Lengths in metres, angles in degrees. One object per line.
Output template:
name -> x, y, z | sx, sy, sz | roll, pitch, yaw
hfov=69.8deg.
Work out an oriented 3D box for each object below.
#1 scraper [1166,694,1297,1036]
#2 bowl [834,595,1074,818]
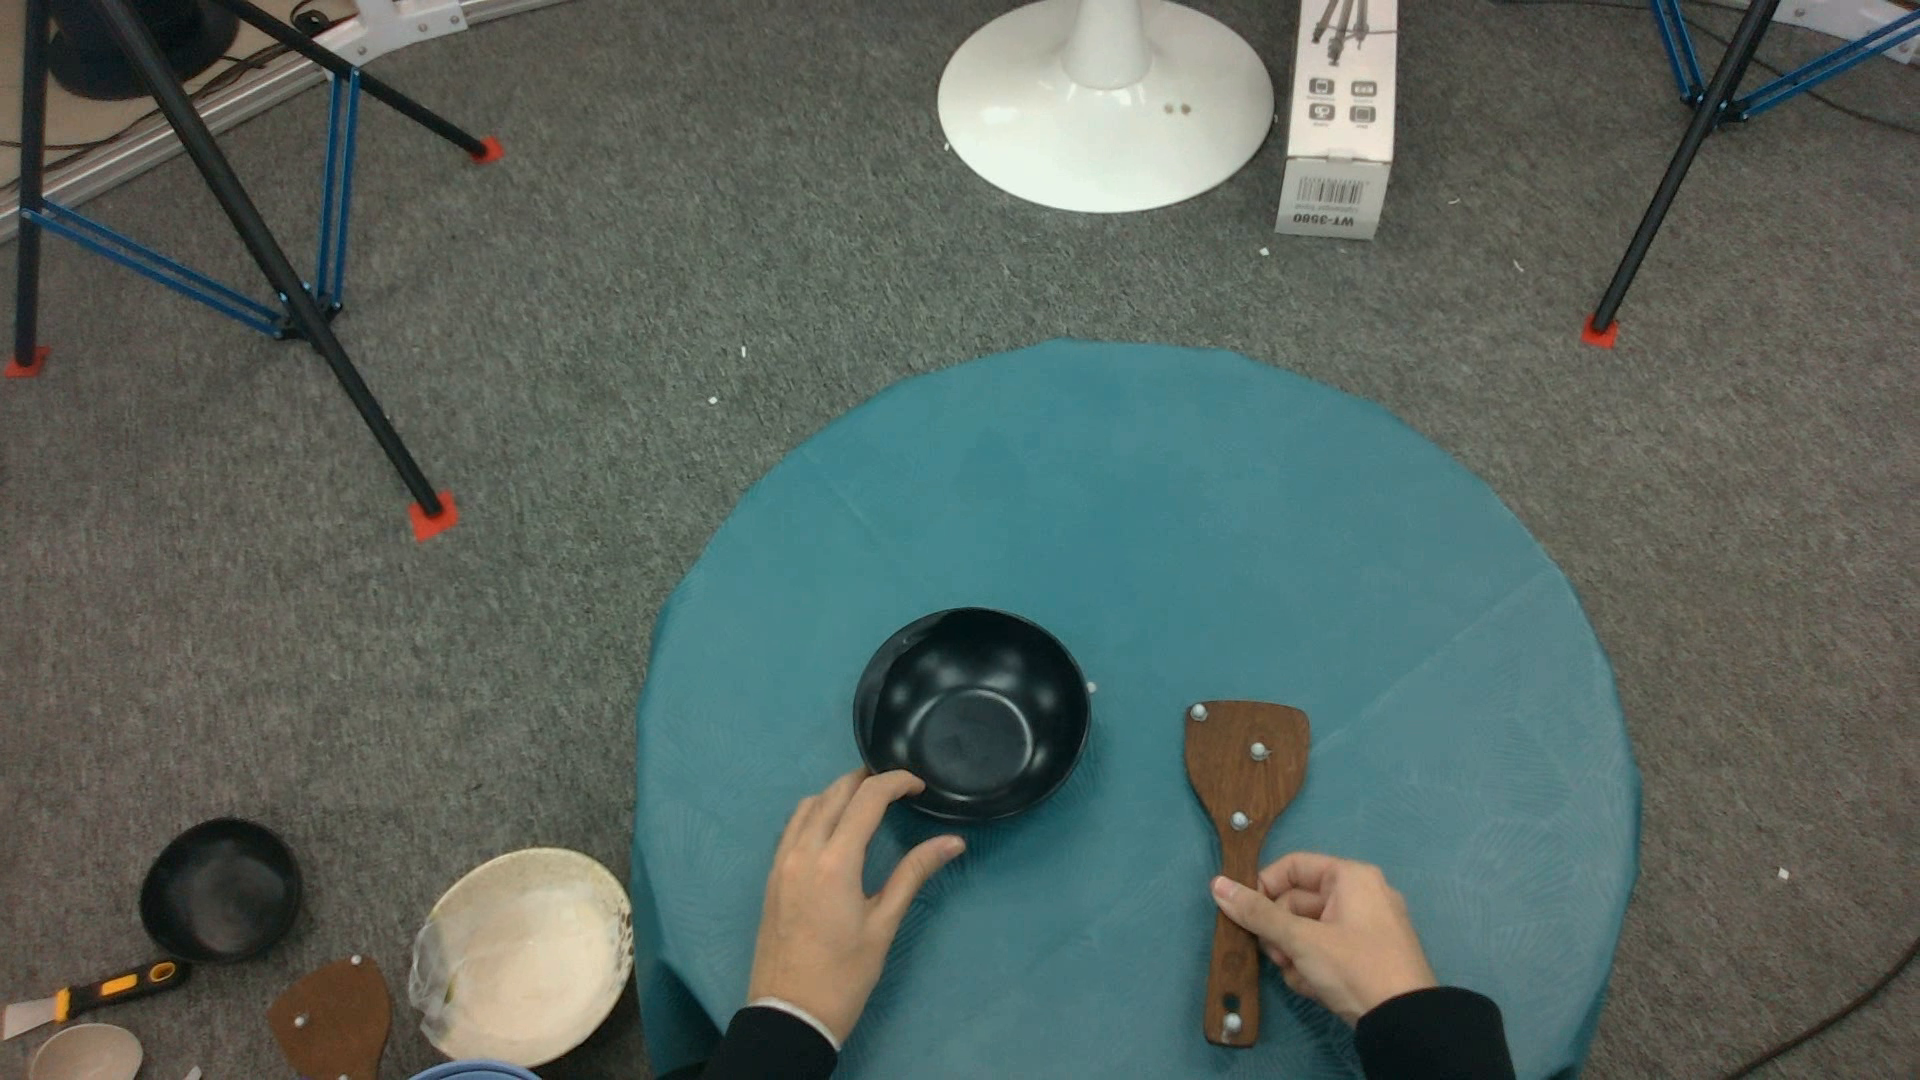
scraper -> 0.147, 0.174, 0.769 | 0.076, 0.011, 0.212 | 5, 48, 11
bowl -> -0.004, 0.104, 0.811 | 0.140, 0.049, 0.140 | 1, 57, -2
